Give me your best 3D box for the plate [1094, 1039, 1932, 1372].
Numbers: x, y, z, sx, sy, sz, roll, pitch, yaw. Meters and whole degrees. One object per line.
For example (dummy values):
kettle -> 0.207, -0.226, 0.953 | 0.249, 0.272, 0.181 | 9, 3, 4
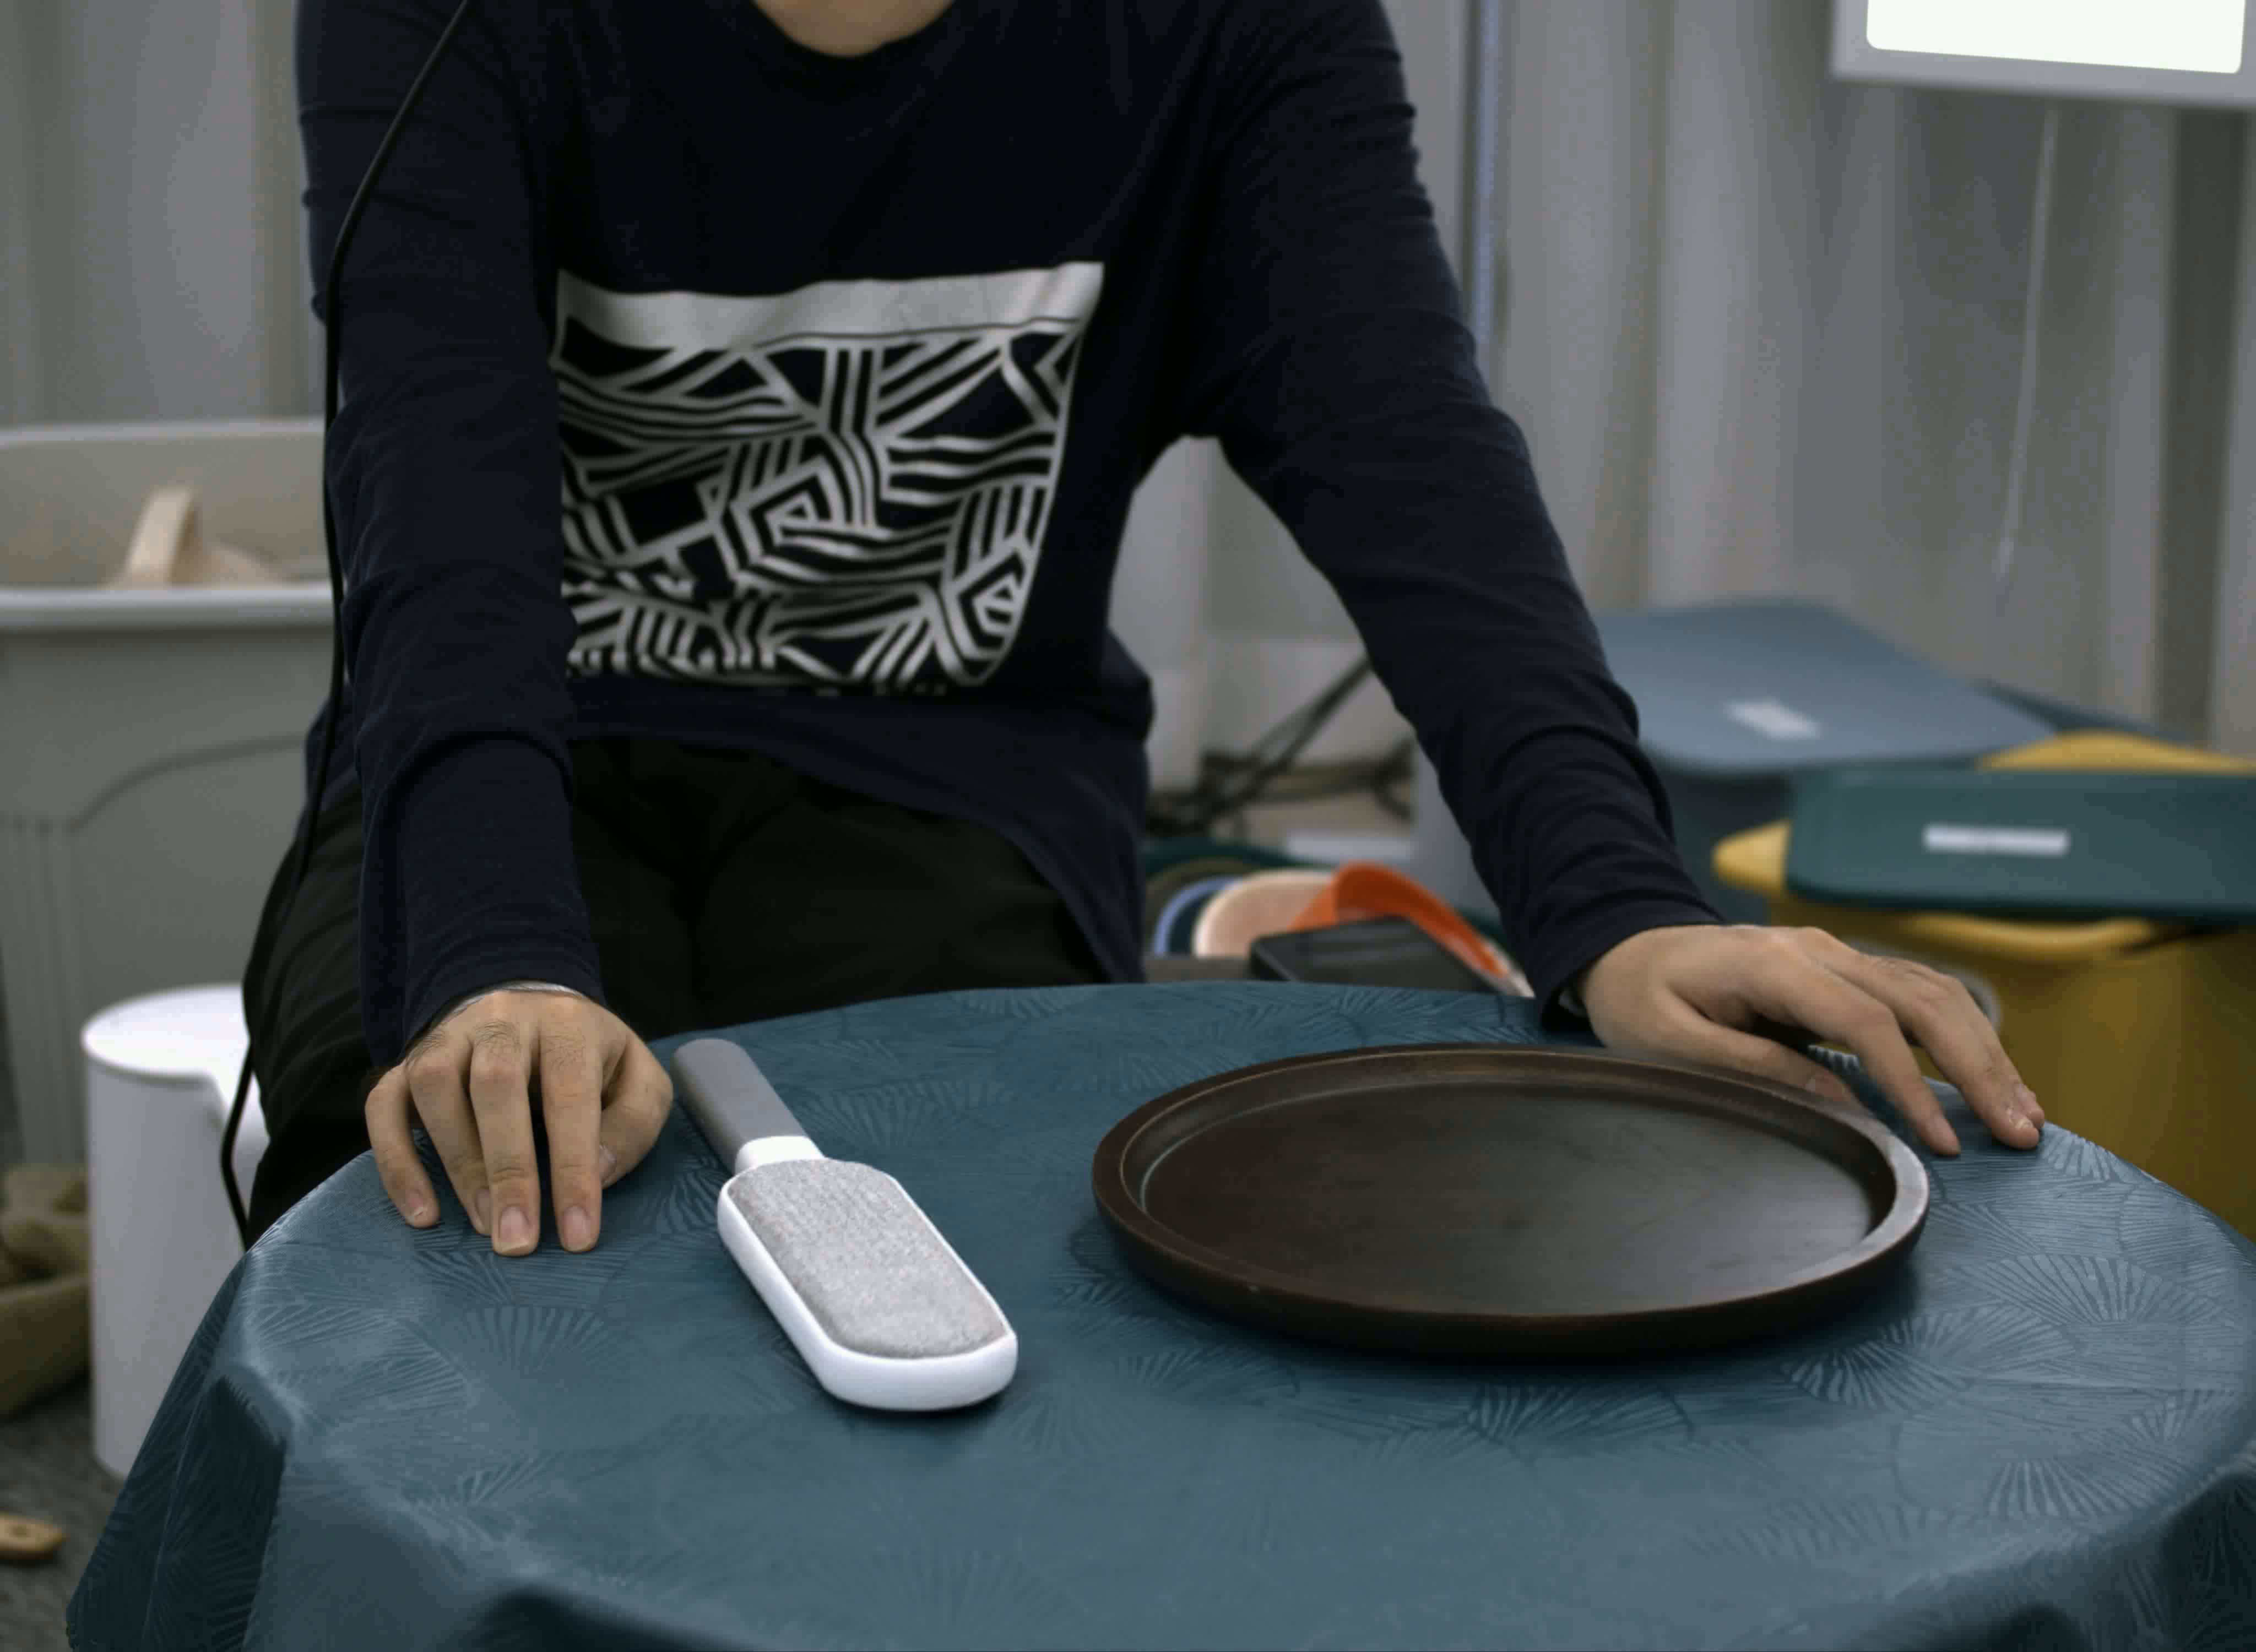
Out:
plate -> 0.115, 0.111, 1.587 | 0.254, 0.029, 0.253 | 2, 15, 0

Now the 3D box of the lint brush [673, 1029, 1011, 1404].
lint brush -> -0.094, 0.112, 1.573 | 0.060, 0.021, 0.306 | -9, 17, -14
